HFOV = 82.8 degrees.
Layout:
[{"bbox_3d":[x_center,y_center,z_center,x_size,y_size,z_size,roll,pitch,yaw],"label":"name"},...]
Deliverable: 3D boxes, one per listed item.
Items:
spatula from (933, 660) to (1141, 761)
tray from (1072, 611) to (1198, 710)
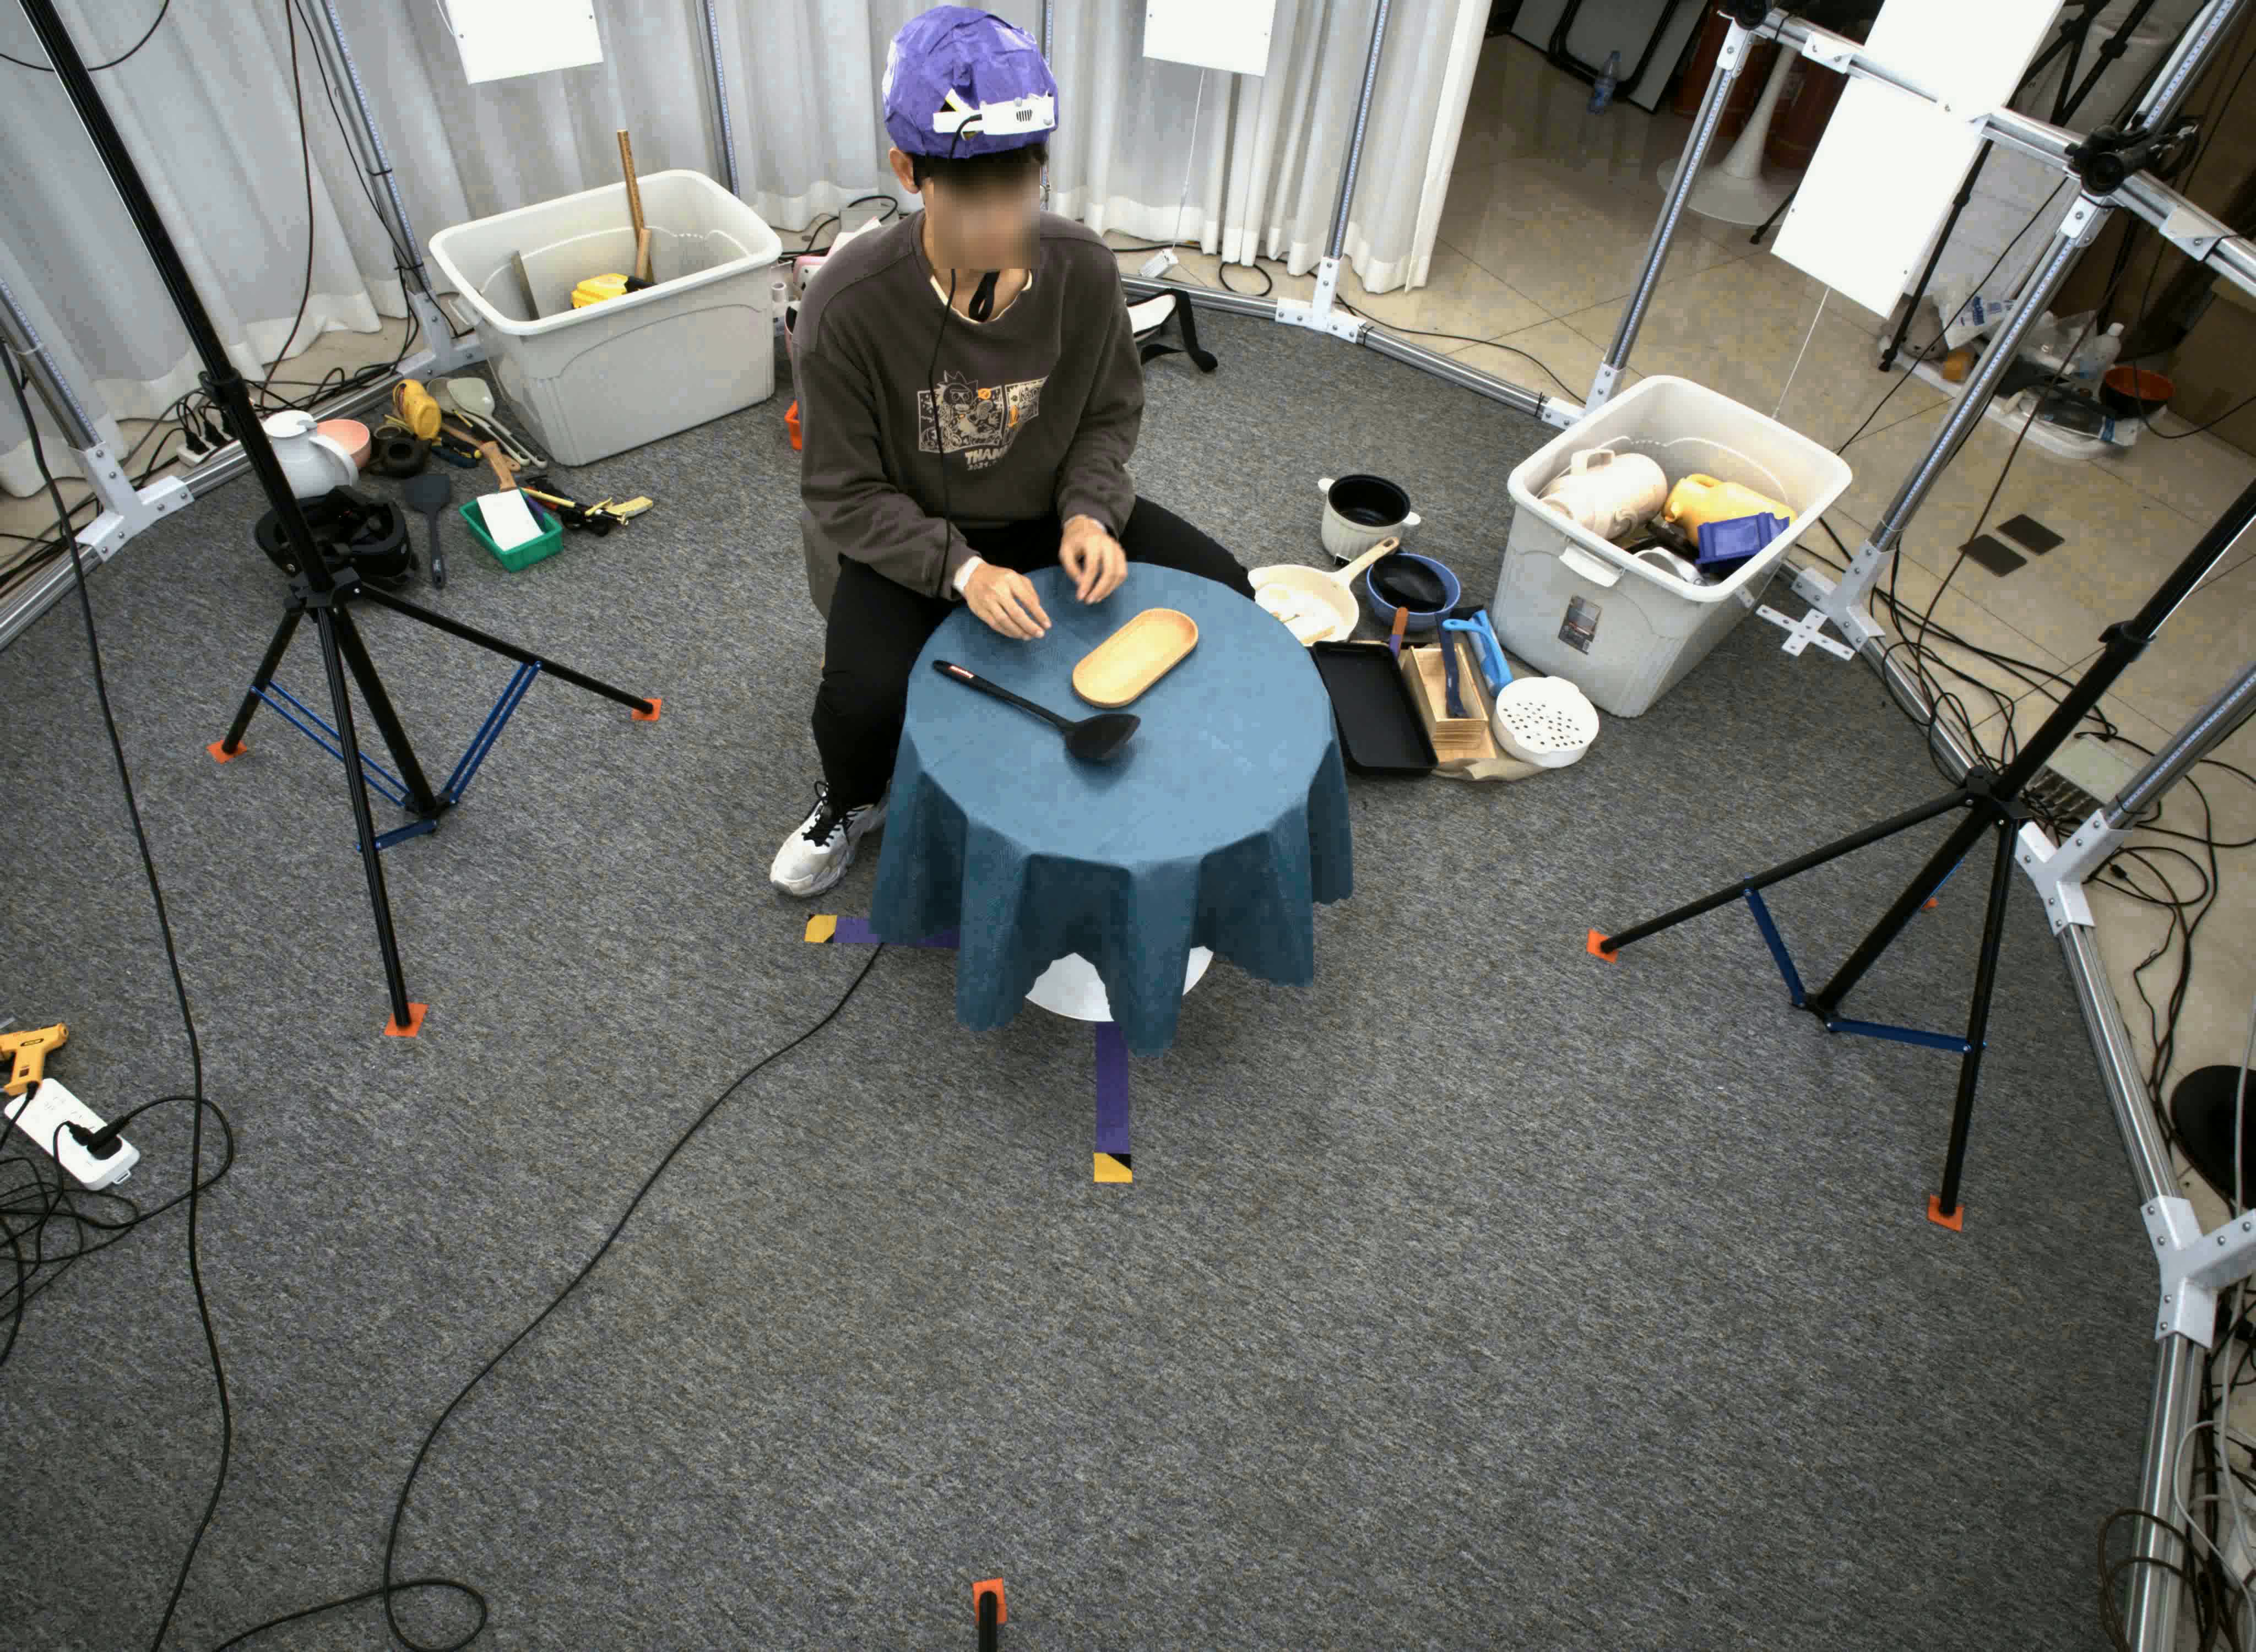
[{"bbox_3d":[-0.139,-0.173,1.784,0.329,0.039,0.101,27,52,19],"label":"spatula"},{"bbox_3d":[0.012,-0.243,1.868,0.103,0.020,0.234,32,56,23],"label":"tray"}]
